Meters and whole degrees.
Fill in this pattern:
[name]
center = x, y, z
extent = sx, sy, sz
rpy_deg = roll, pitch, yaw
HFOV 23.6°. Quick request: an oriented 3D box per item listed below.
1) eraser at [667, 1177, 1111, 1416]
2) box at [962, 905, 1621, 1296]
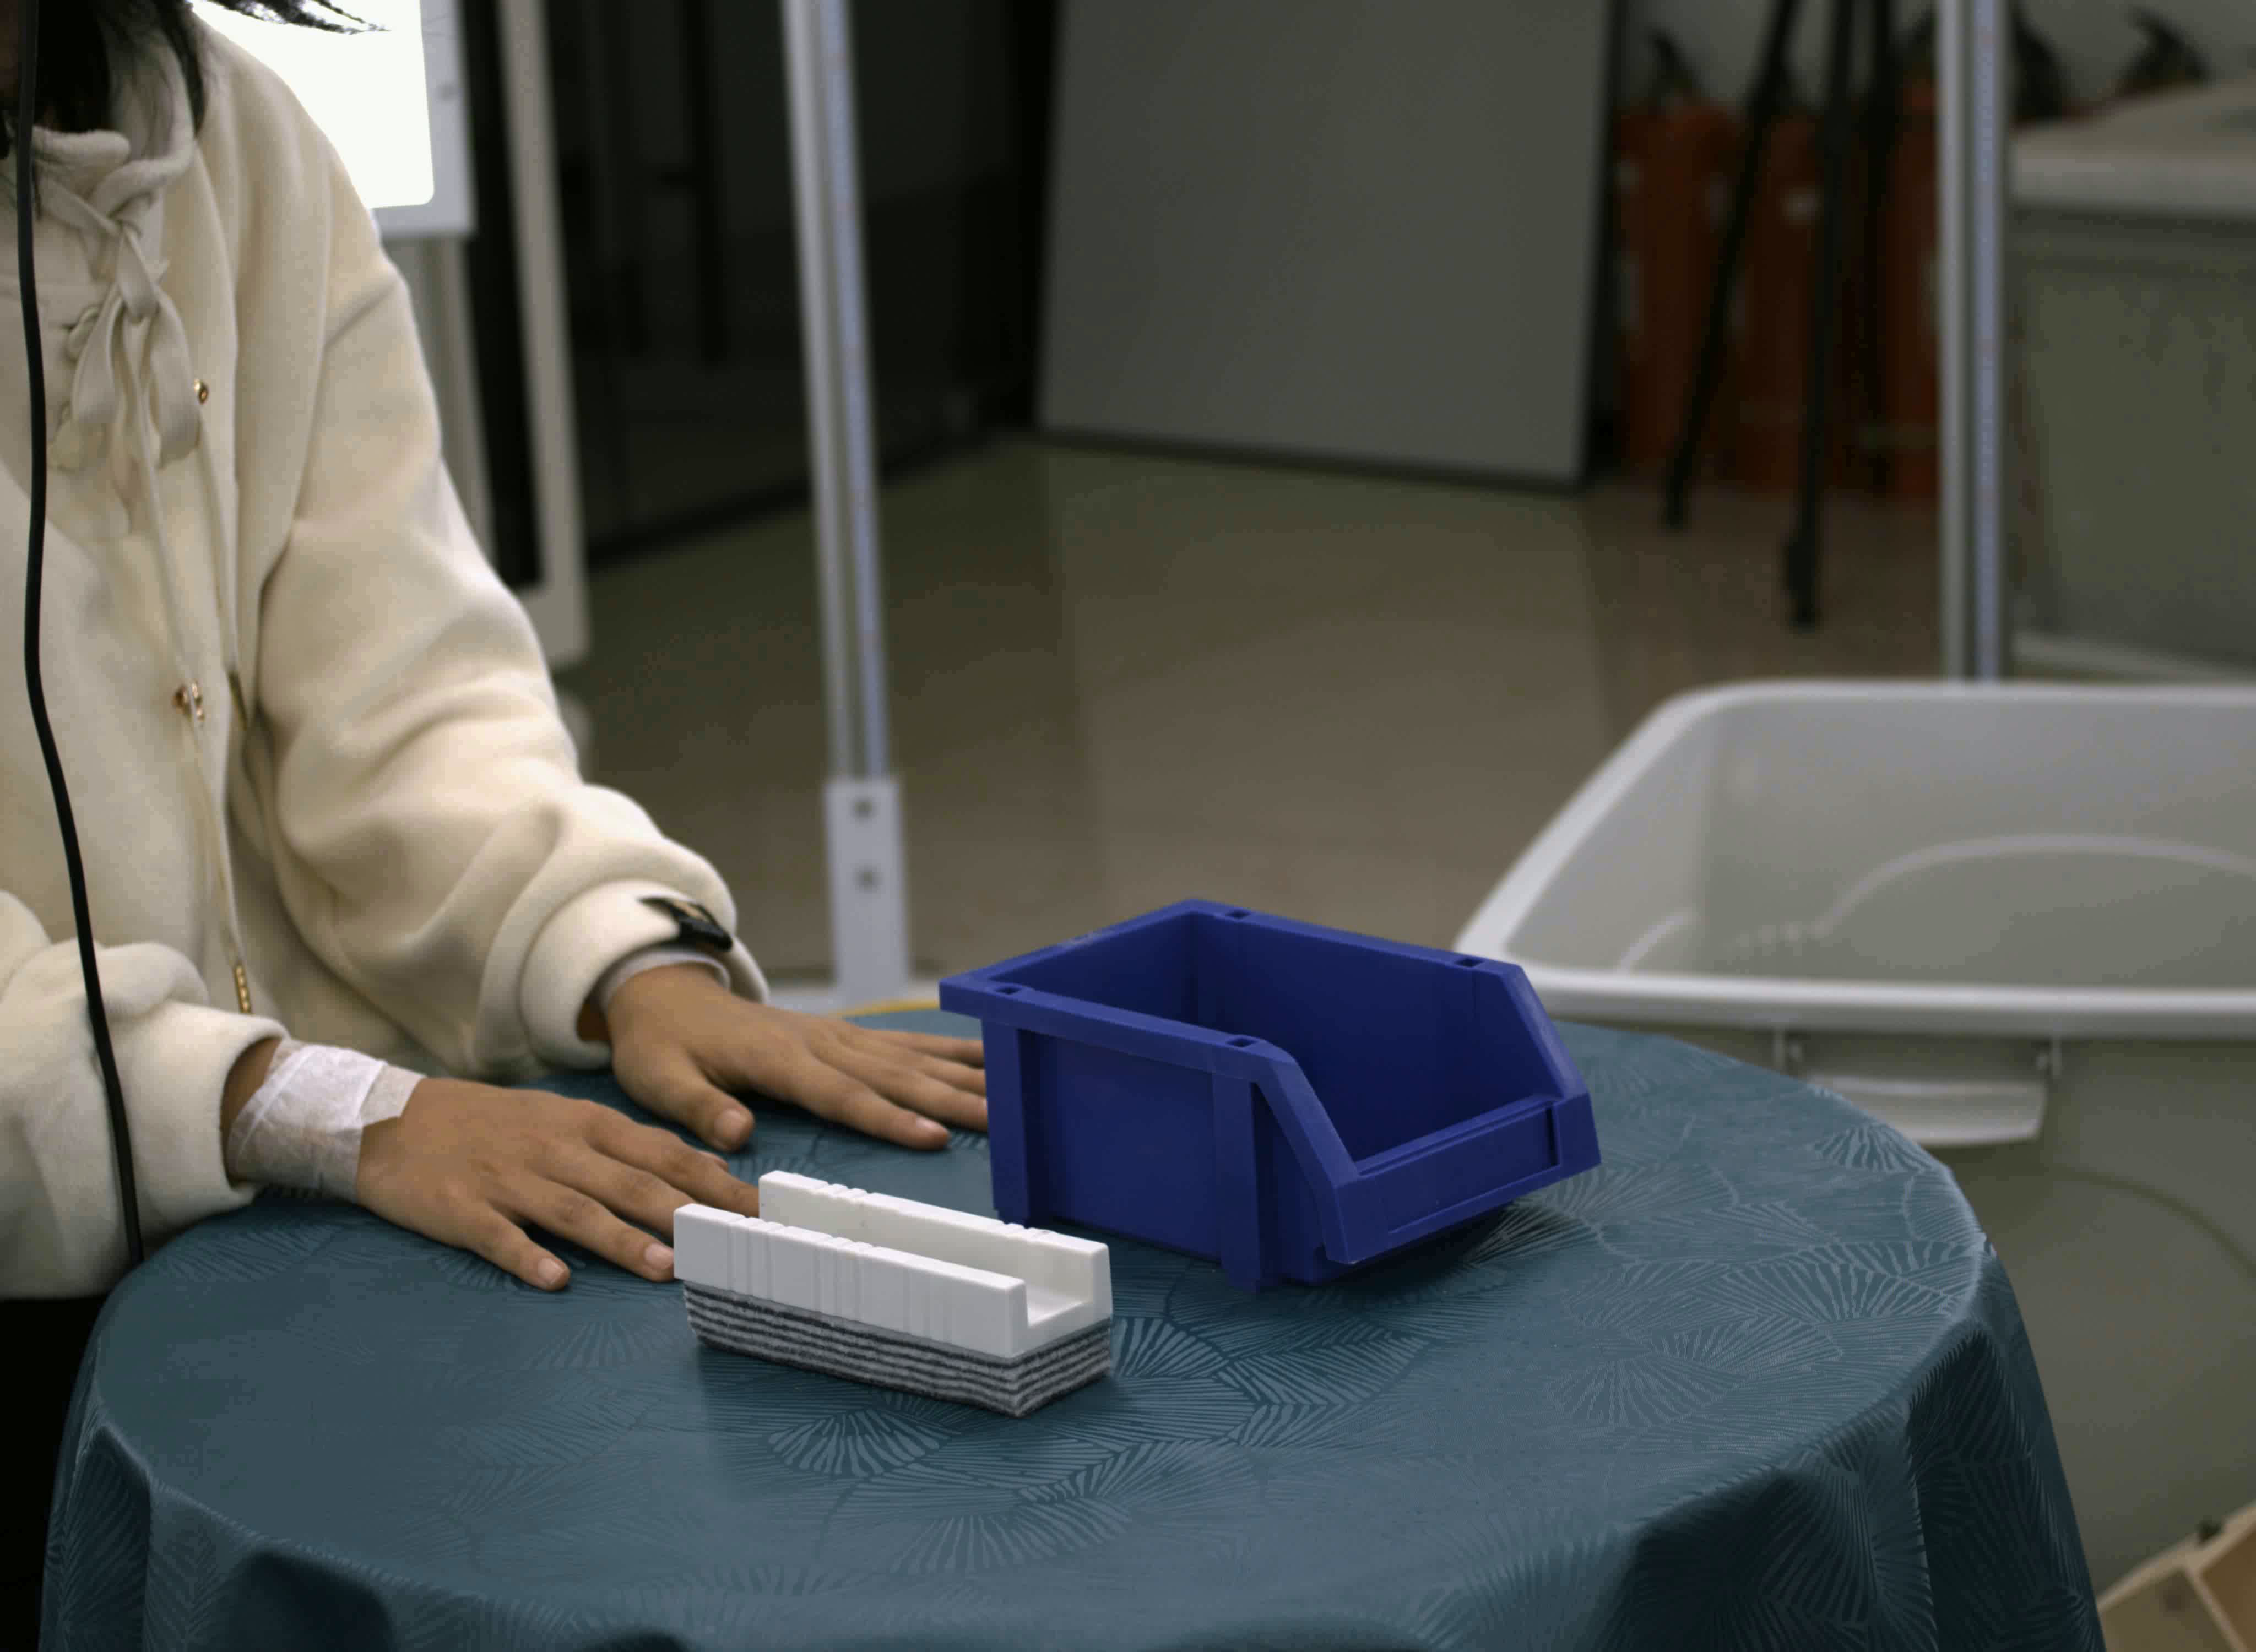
[eraser]
center = -0.072, 0.140, 1.617
extent = 0.135, 0.047, 0.049
rpy_deg = 8, 19, 37
[box]
center = 0.053, 0.087, 1.719
extent = 0.122, 0.083, 0.181
rpy_deg = -16, 16, -40
